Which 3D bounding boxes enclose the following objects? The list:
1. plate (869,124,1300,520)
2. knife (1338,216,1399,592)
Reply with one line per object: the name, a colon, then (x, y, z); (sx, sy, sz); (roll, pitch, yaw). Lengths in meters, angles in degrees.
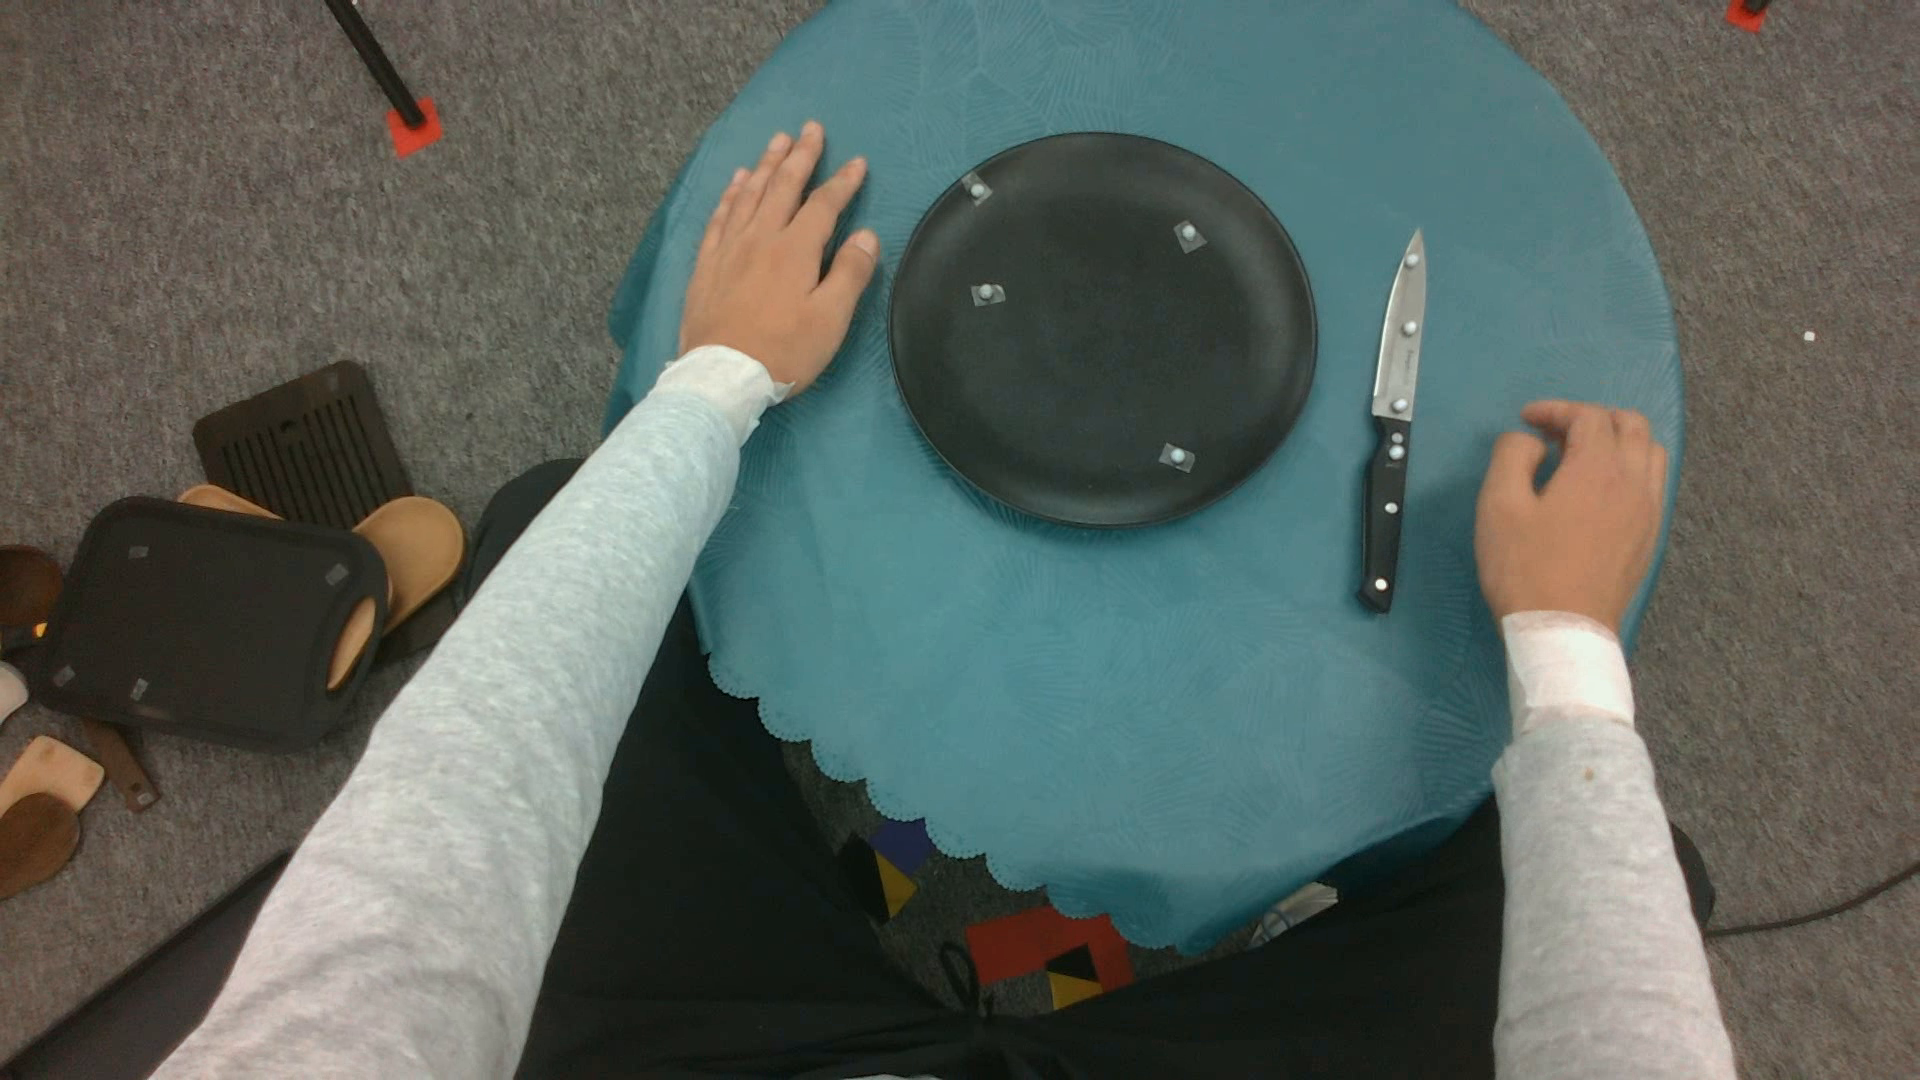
plate: (0.071, -0.126, 0.784); (0.244, 0.023, 0.245); (0, 73, -1)
knife: (0.236, -0.082, 0.782); (0.024, 0.016, 0.239); (11, 71, 1)
